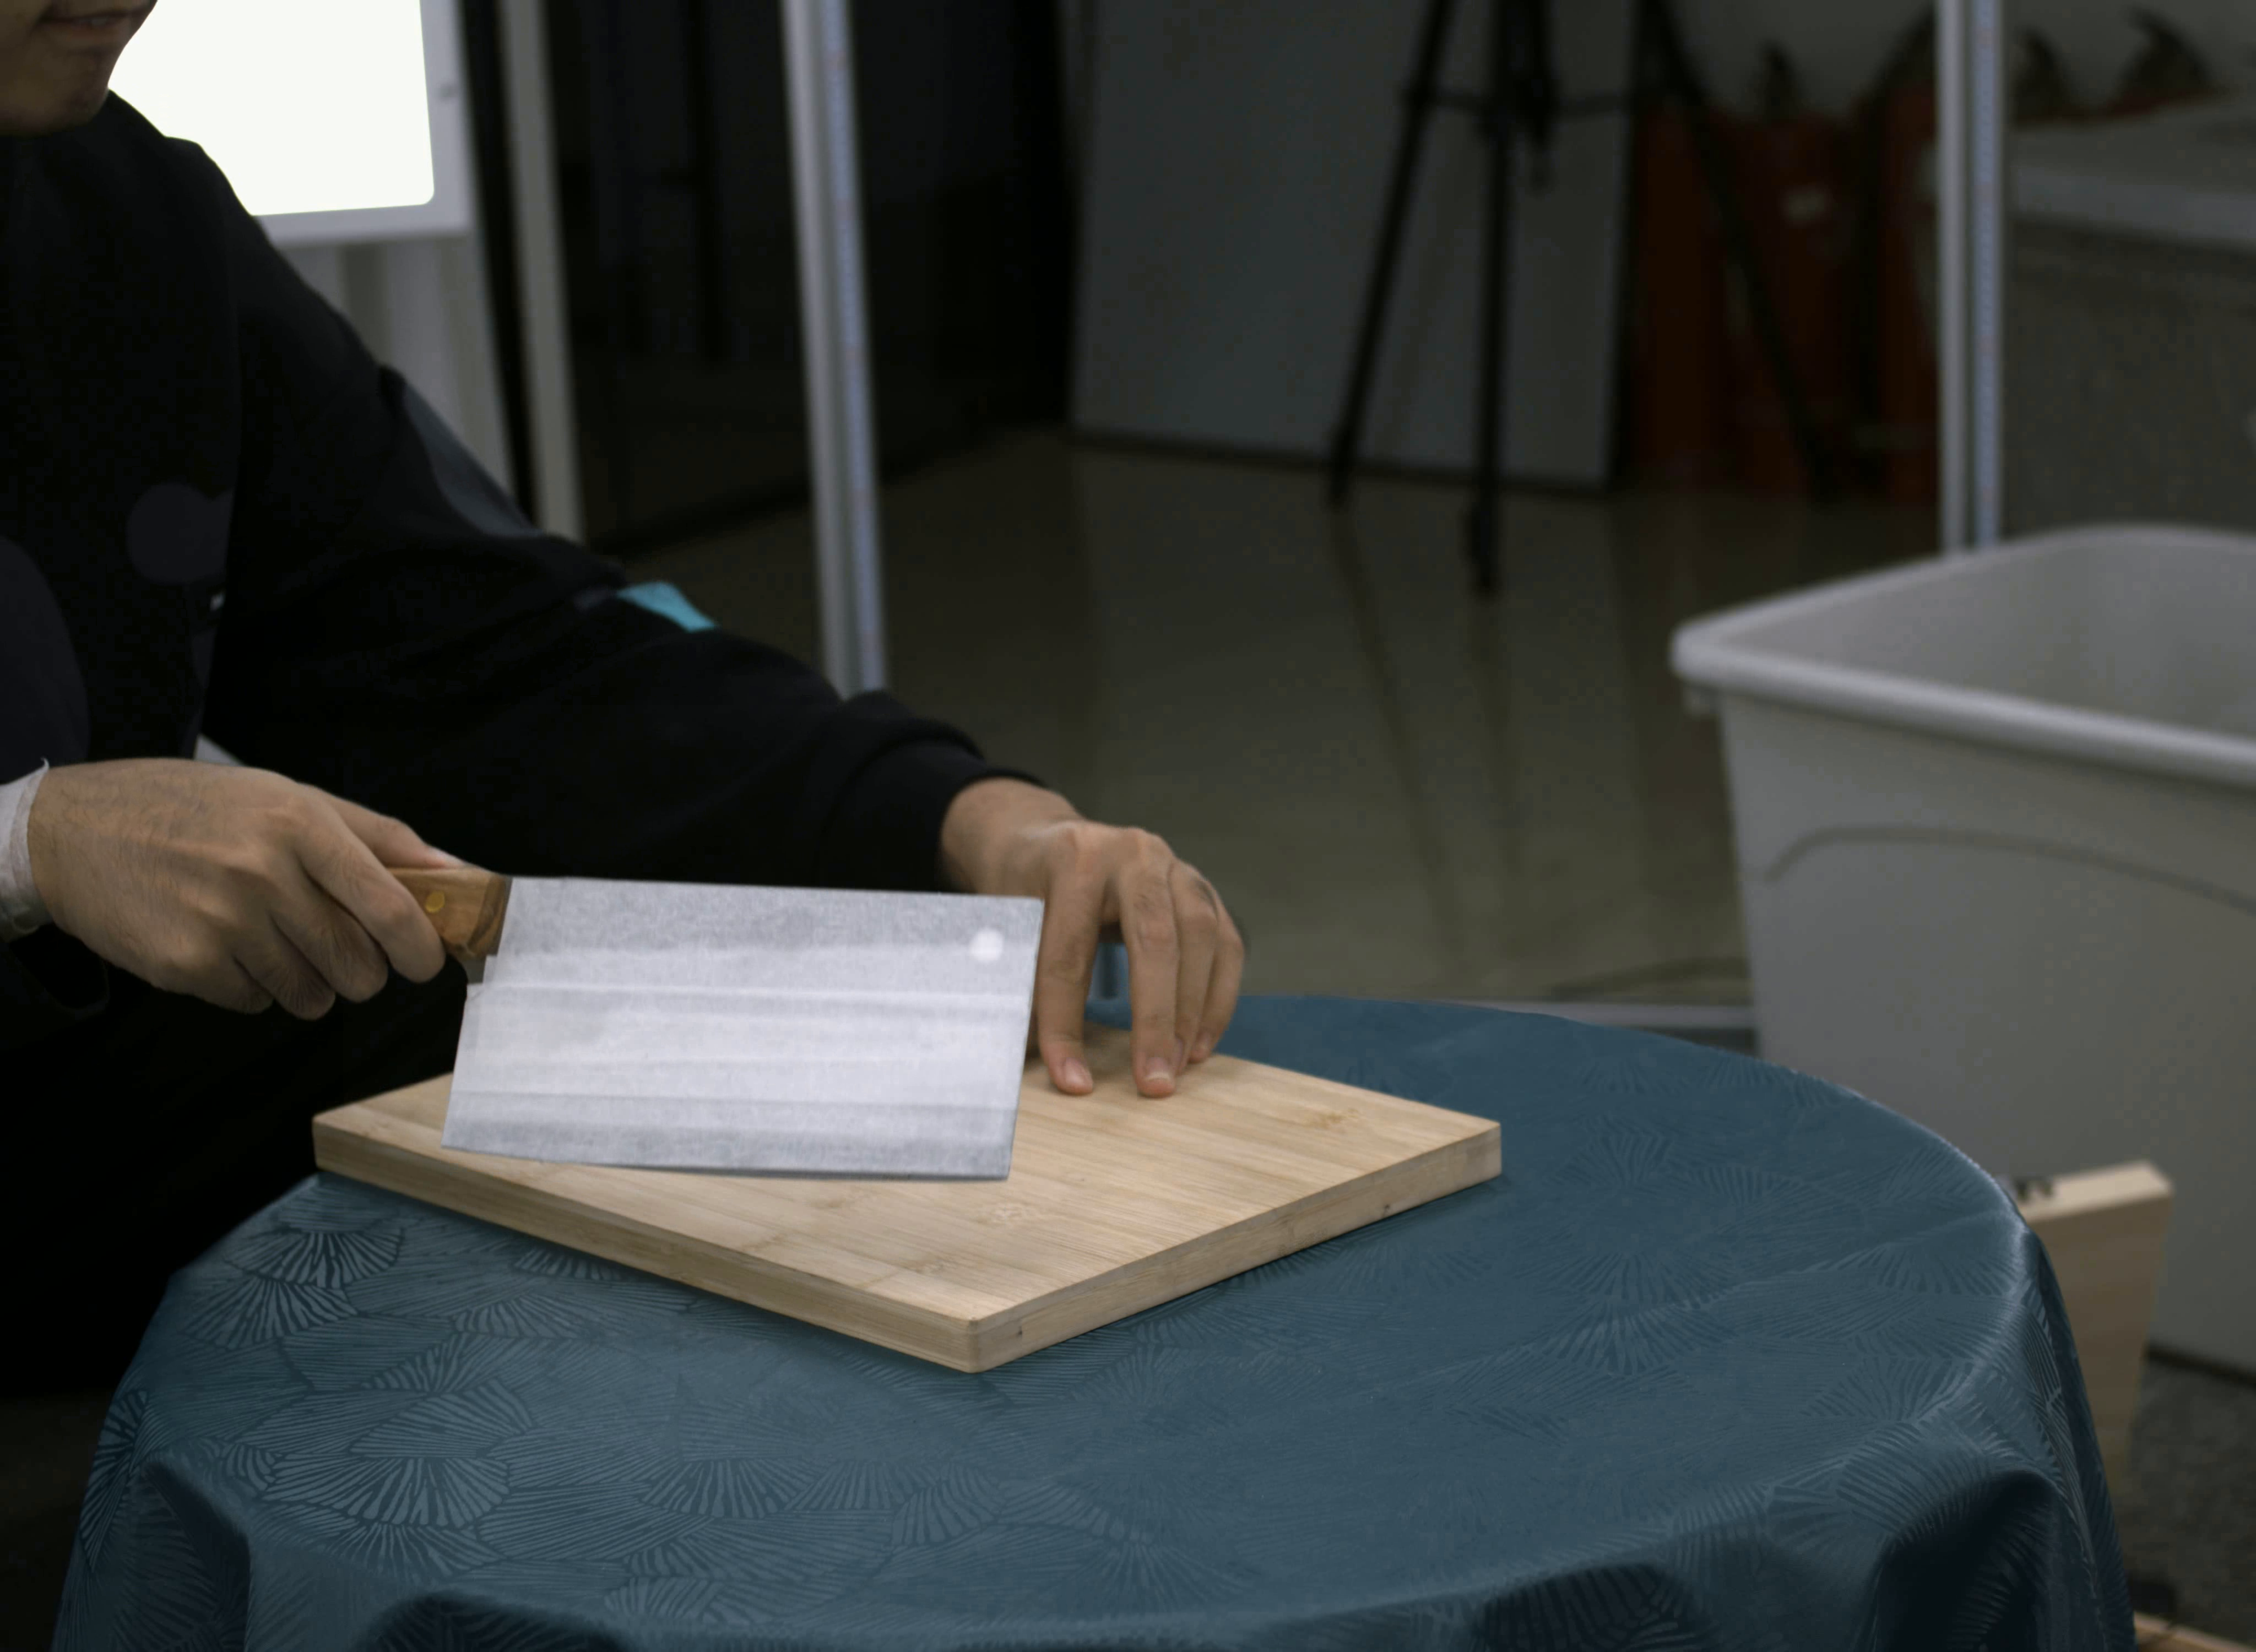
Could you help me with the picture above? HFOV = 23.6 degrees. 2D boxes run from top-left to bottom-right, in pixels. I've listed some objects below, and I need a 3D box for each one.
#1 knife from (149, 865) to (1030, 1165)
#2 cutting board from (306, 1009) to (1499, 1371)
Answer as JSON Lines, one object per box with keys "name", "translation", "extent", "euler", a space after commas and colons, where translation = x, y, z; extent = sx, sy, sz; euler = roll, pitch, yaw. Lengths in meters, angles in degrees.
{"name": "knife", "translation": [-0.172, 0.059, 1.676], "extent": [0.305, 0.094, 0.021], "euler": [2, -16, 21]}
{"name": "cutting board", "translation": [-0.080, 0.109, 1.811], "extent": [0.245, 0.024, 0.352], "euler": [-17, 19, -41]}
